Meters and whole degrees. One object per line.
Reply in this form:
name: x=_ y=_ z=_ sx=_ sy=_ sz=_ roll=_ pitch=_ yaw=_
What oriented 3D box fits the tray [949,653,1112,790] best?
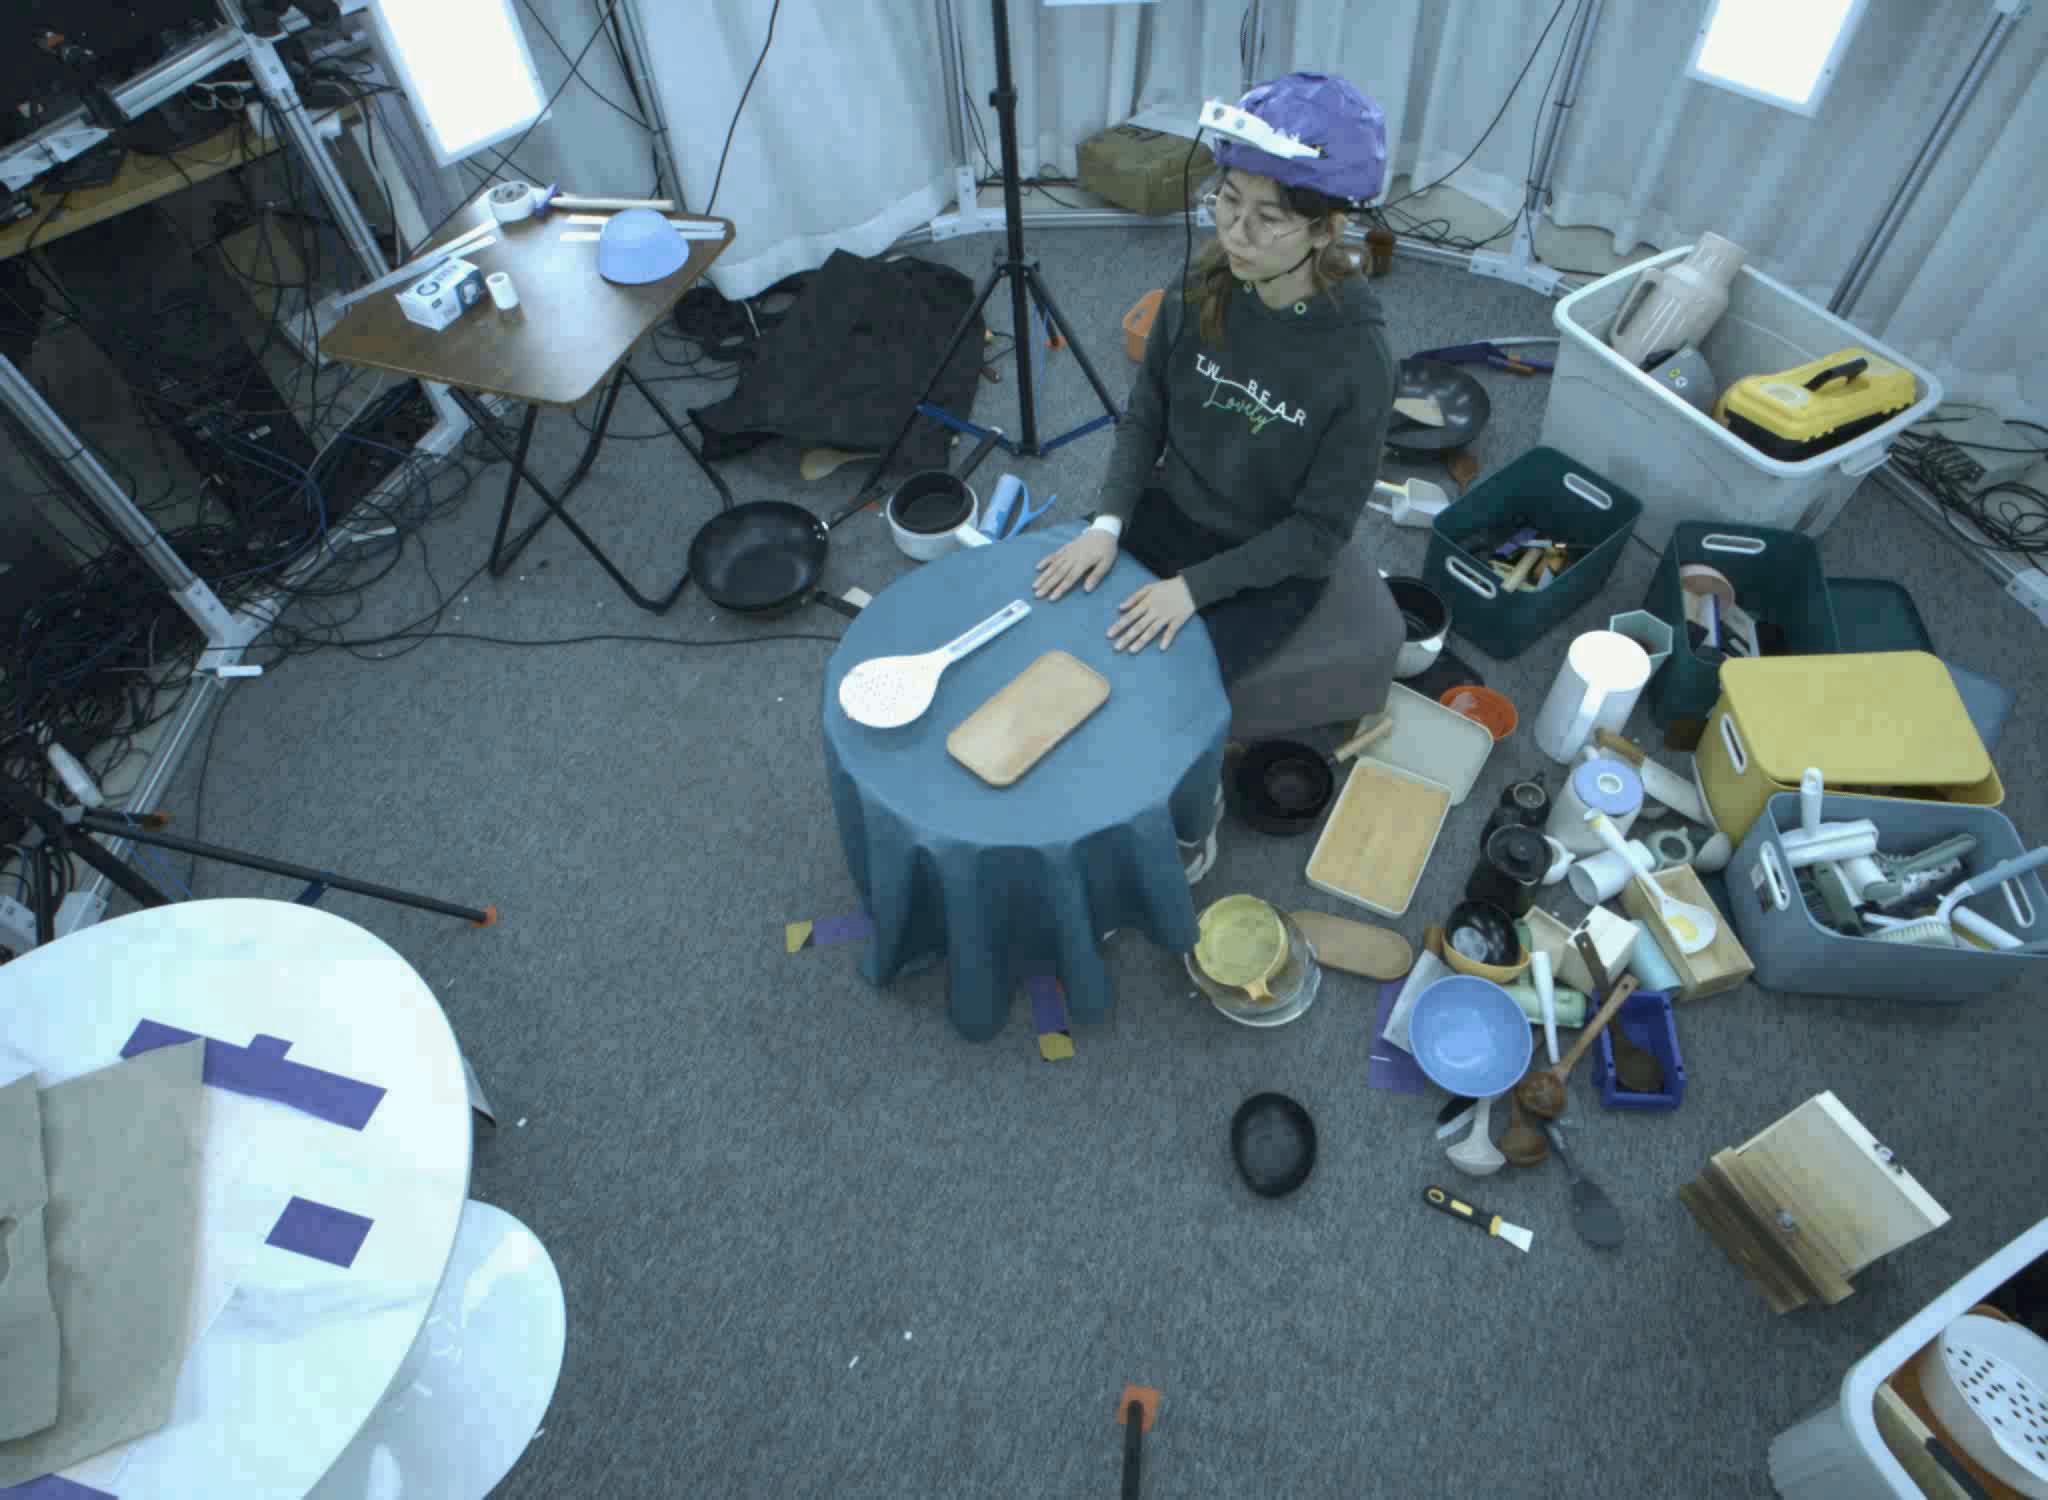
tray: x=0.011 y=-0.044 z=1.818 sx=0.128 sy=0.023 sz=0.252 roll=38 pitch=63 yaw=23

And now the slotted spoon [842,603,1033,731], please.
slotted spoon: x=-0.123 y=-0.134 z=1.867 sx=0.352 sy=0.046 sz=0.134 roll=-38 pitch=64 yaw=-23
